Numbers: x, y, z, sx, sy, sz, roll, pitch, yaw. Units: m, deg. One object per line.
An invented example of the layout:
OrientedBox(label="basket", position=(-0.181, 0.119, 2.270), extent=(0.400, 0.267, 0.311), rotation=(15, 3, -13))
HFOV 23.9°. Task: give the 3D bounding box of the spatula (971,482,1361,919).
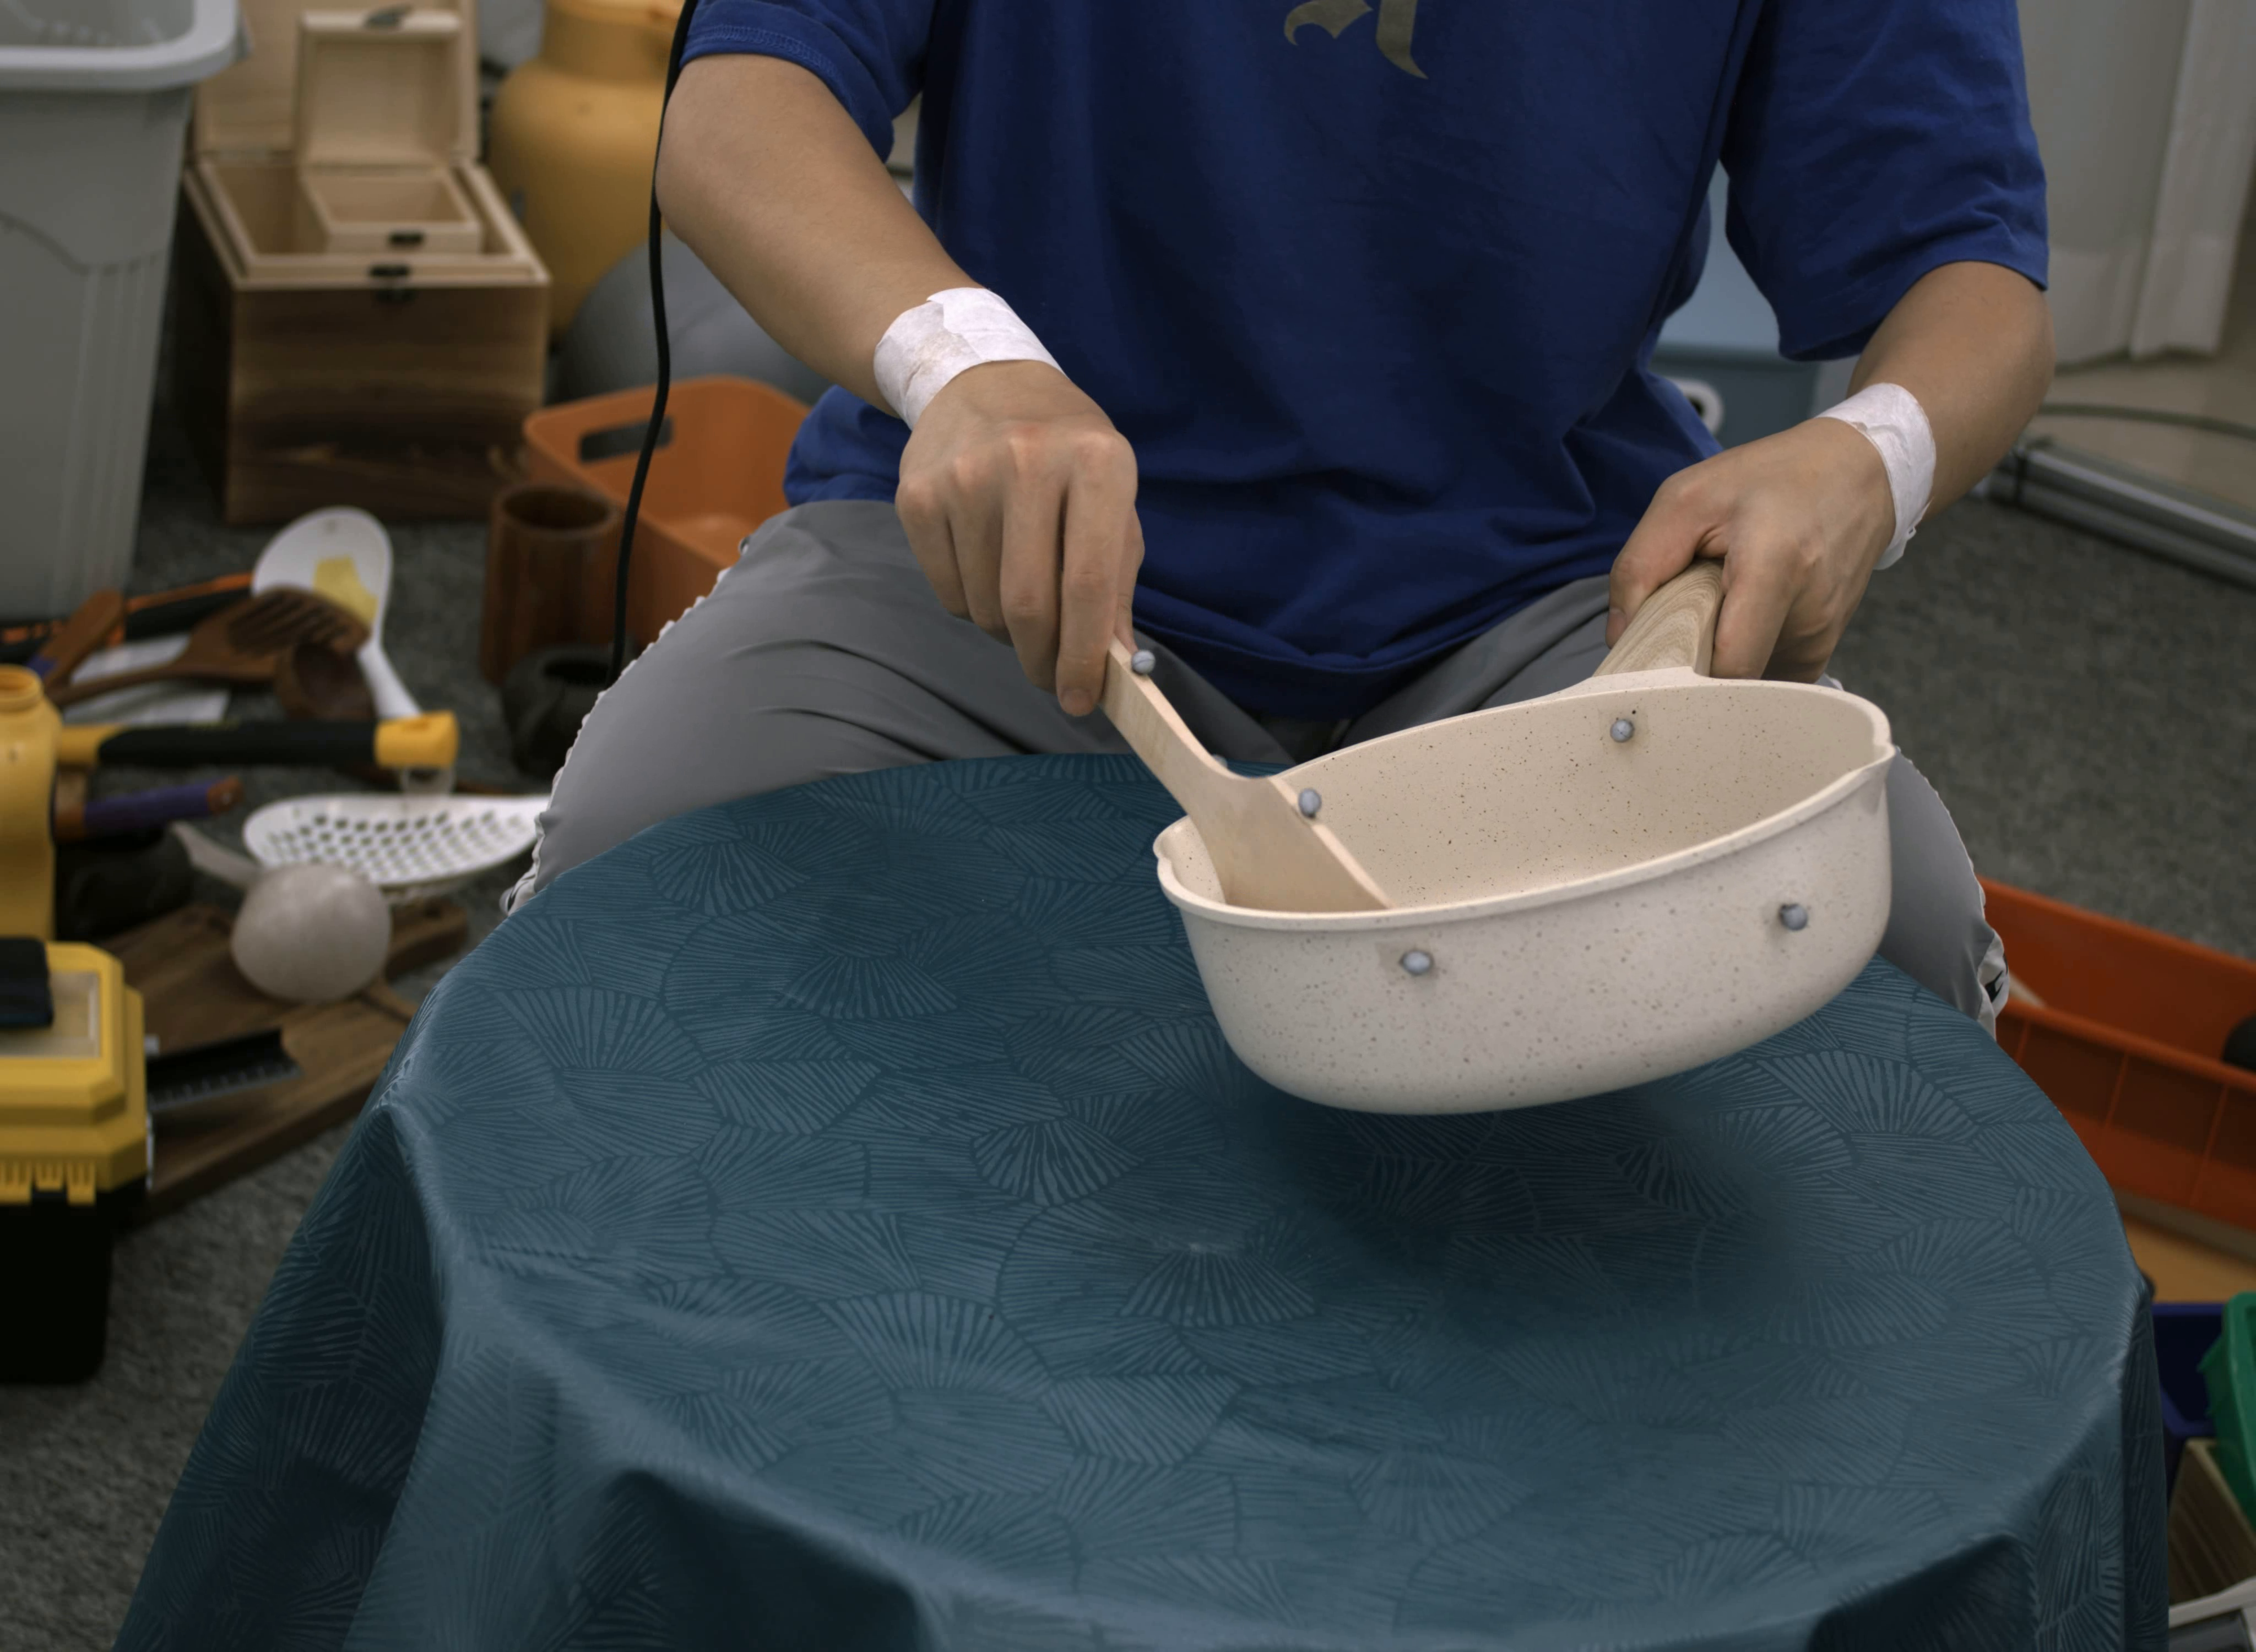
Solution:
OrientedBox(label="spatula", position=(0.012, -0.030, 1.840), extent=(0.010, 0.072, 0.296), rotation=(-12, 43, -26))

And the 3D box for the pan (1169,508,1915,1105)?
OrientedBox(label="pan", position=(0.176, -0.011, 1.880), extent=(0.264, 0.102, 0.434), rotation=(-8, 14, 23))
